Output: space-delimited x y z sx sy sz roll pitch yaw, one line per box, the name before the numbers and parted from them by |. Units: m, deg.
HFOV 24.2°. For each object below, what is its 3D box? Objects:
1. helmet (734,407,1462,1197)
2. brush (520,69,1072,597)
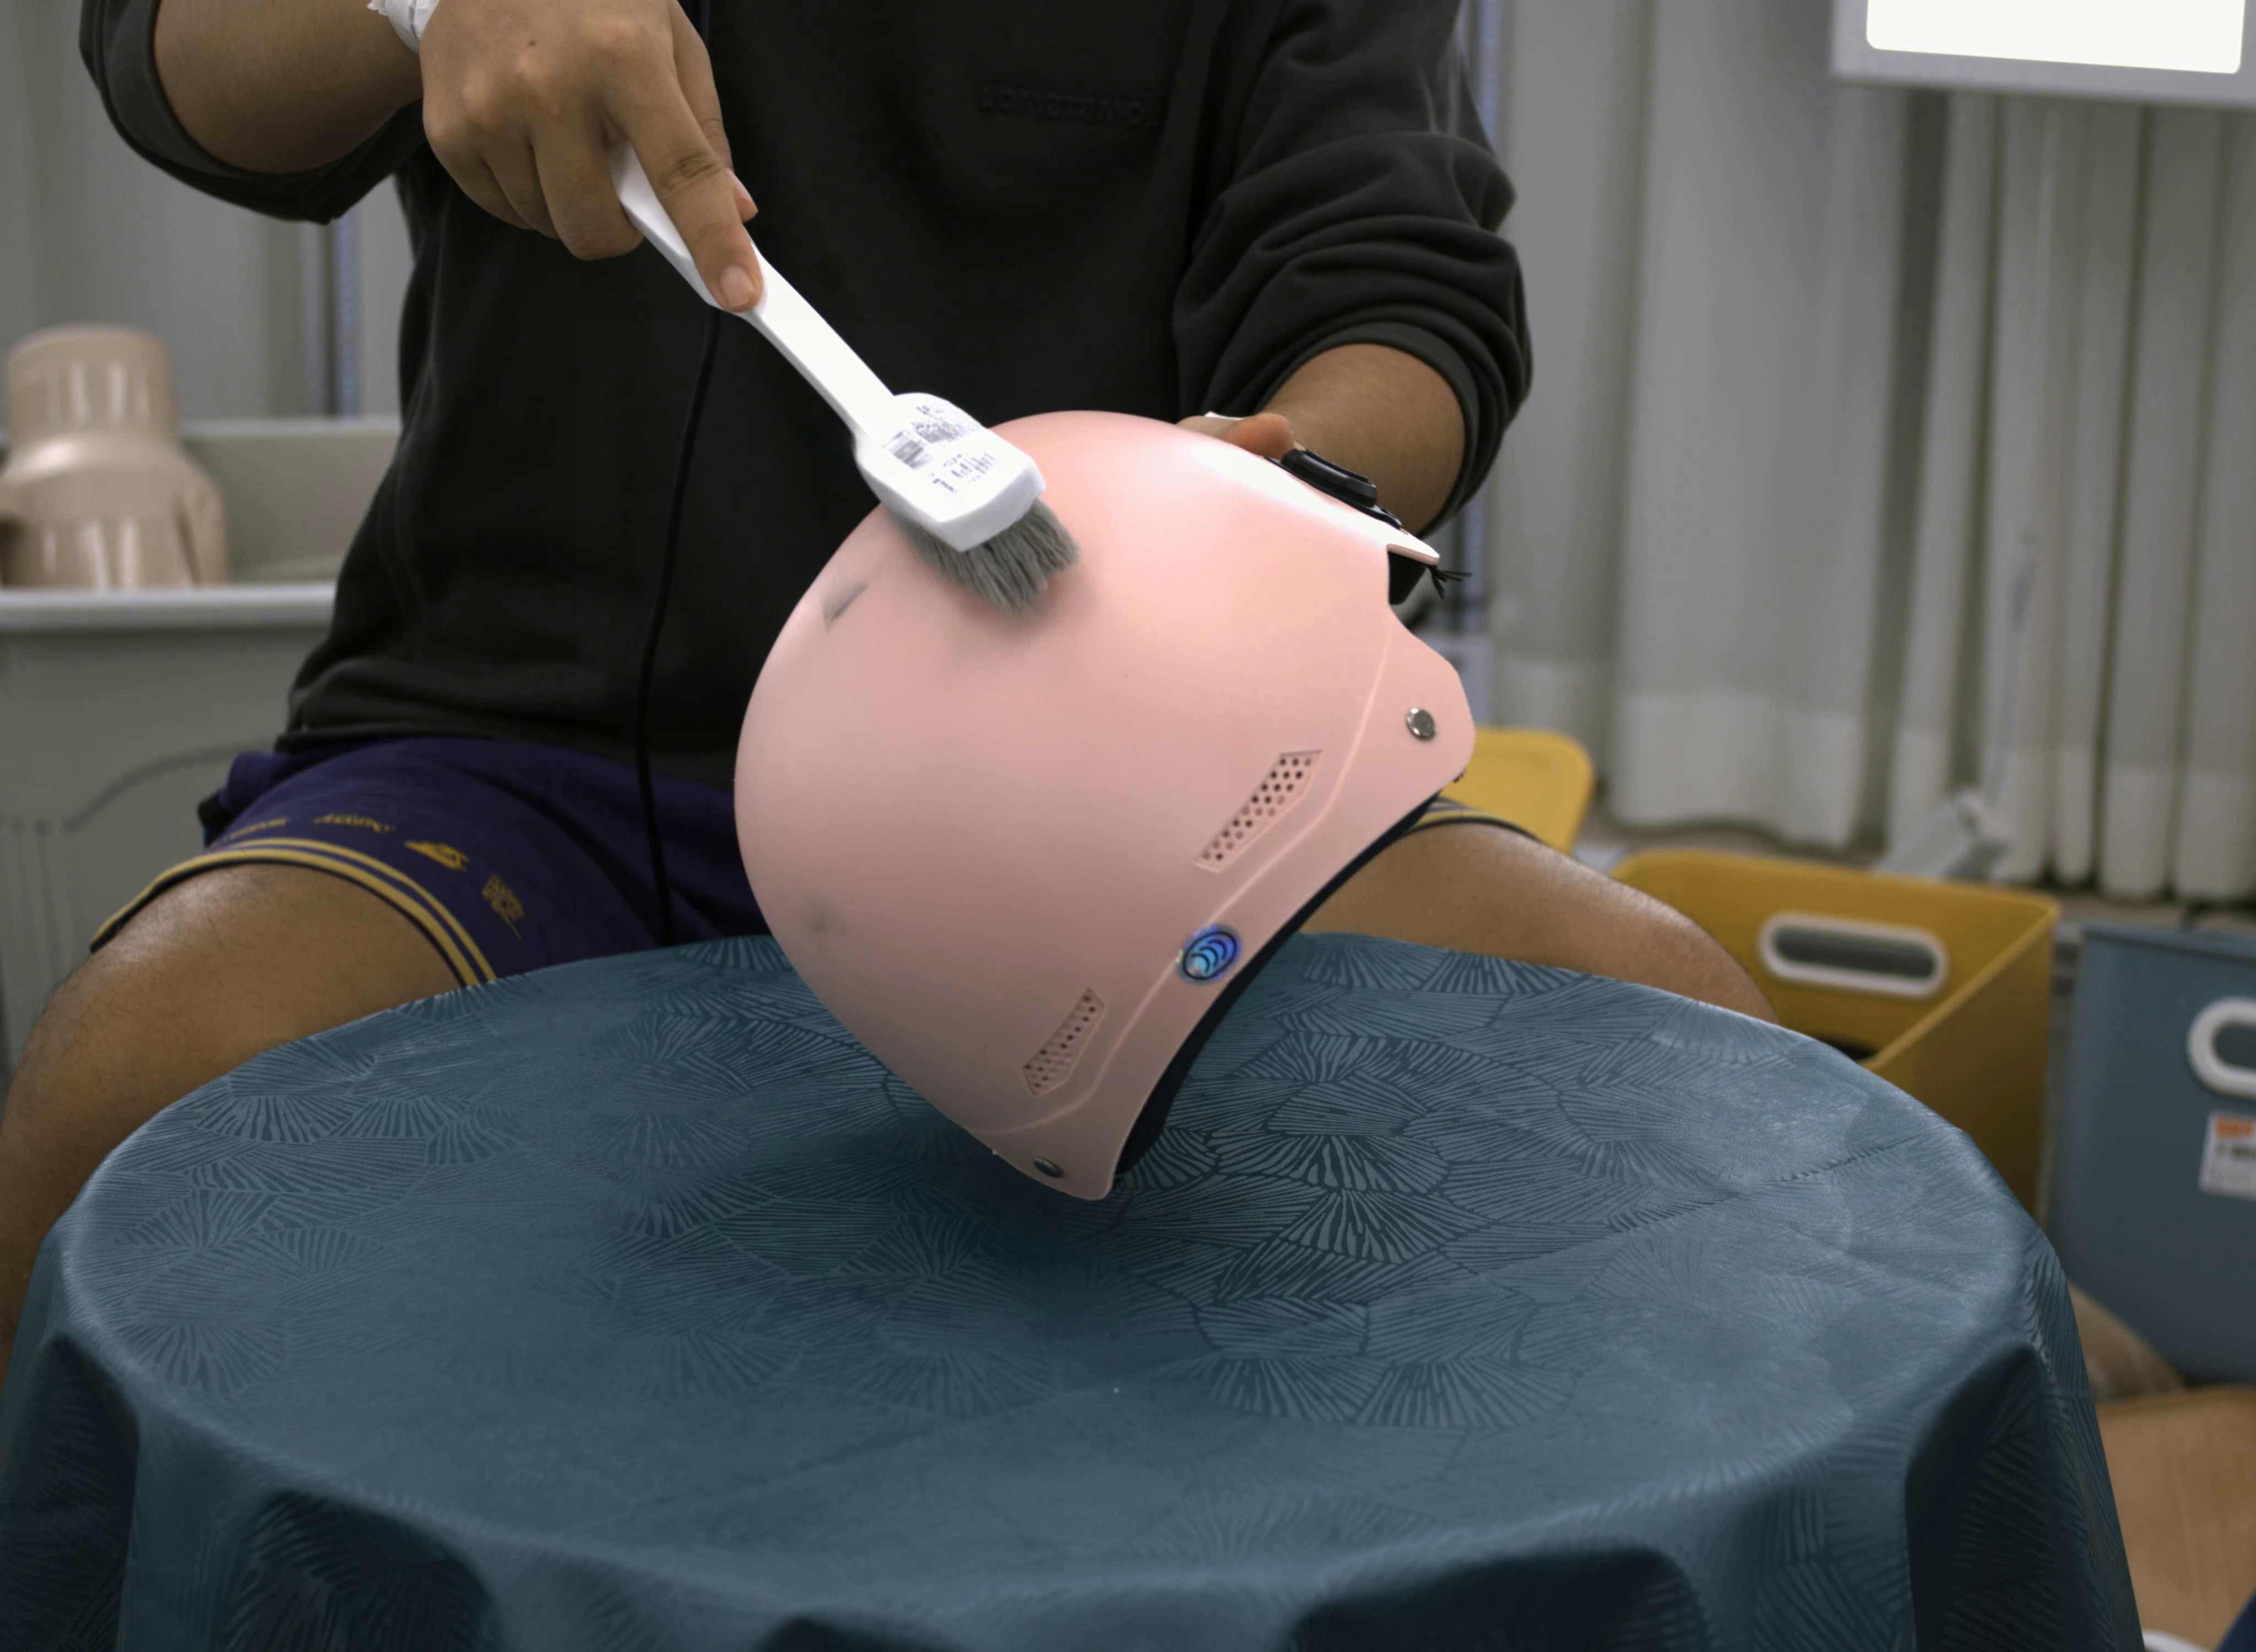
helmet | -0.029 -0.032 1.583 0.160 0.234 0.263 34 14 -19
brush | -0.099 -0.144 1.527 0.034 0.051 0.240 -37 56 -15
